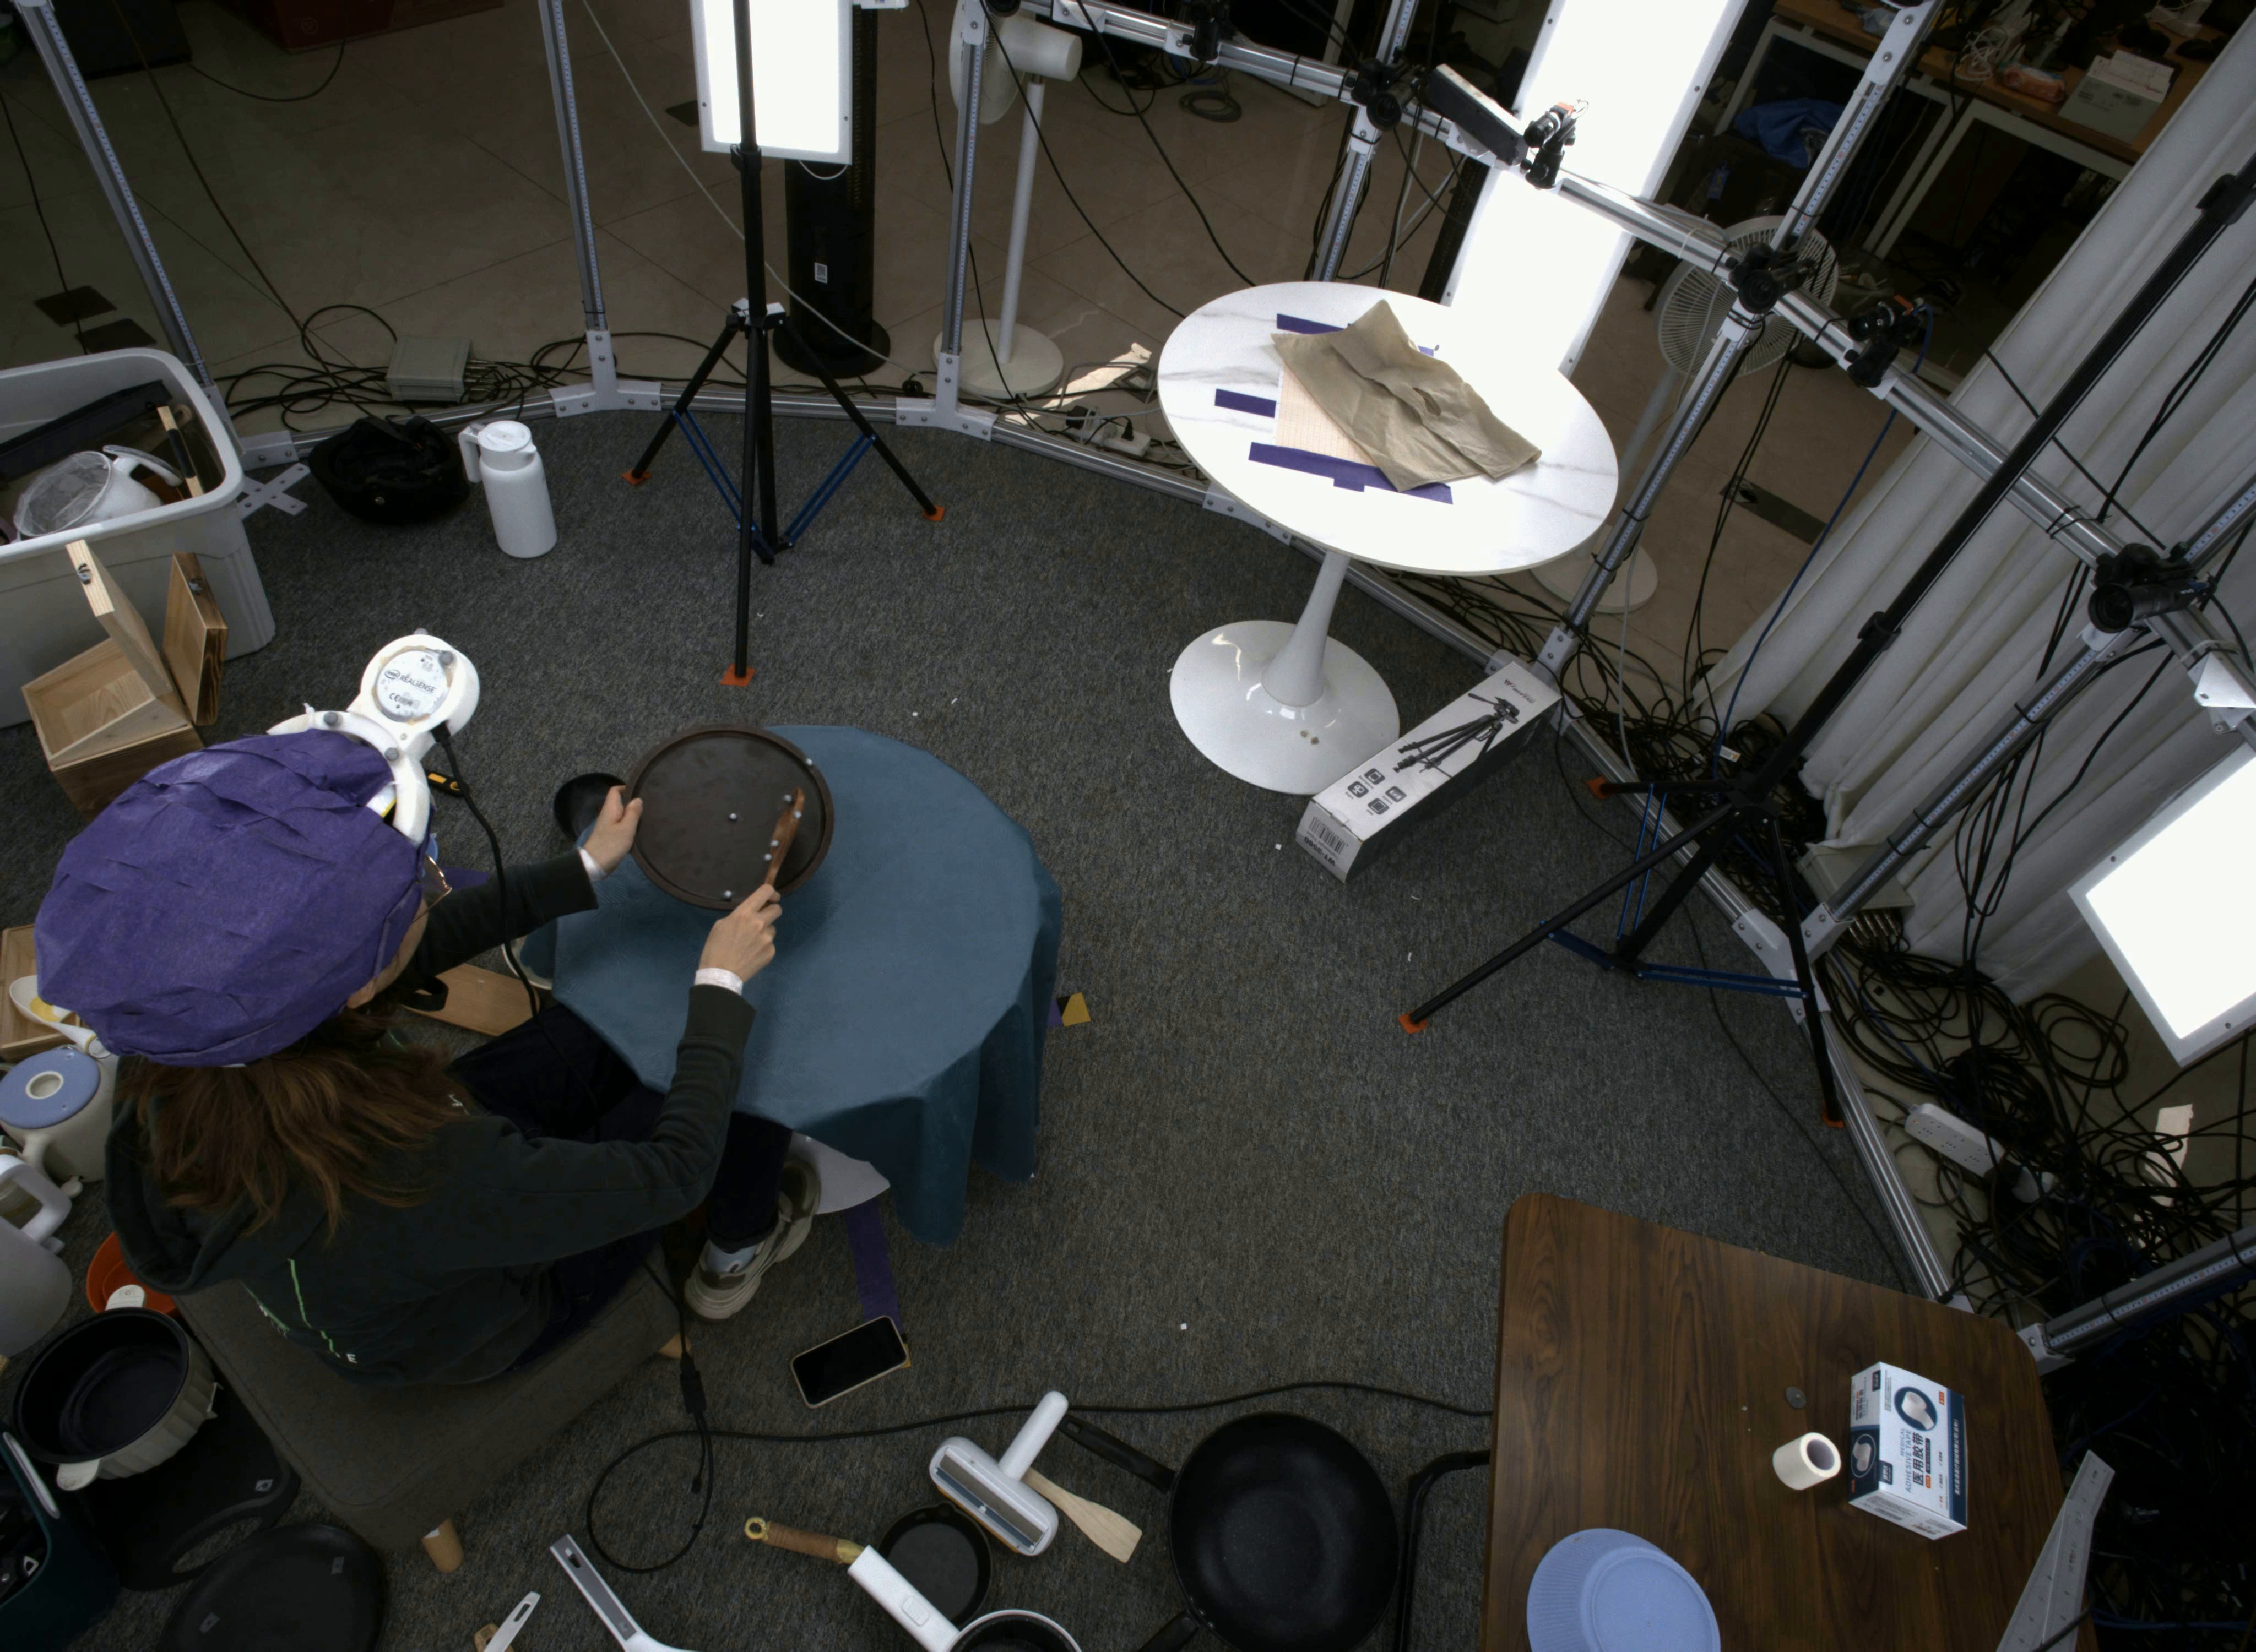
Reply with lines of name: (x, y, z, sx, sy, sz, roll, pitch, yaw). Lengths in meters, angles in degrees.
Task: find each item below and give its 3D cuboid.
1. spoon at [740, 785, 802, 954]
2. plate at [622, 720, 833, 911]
spoon: (-0.417, 0.047, 1.515, 0.017, 0.074, 0.213, 25, 58, -25)
plate: (-0.488, -0.014, 1.577, 0.256, 0.029, 0.252, 10, 62, -17)
